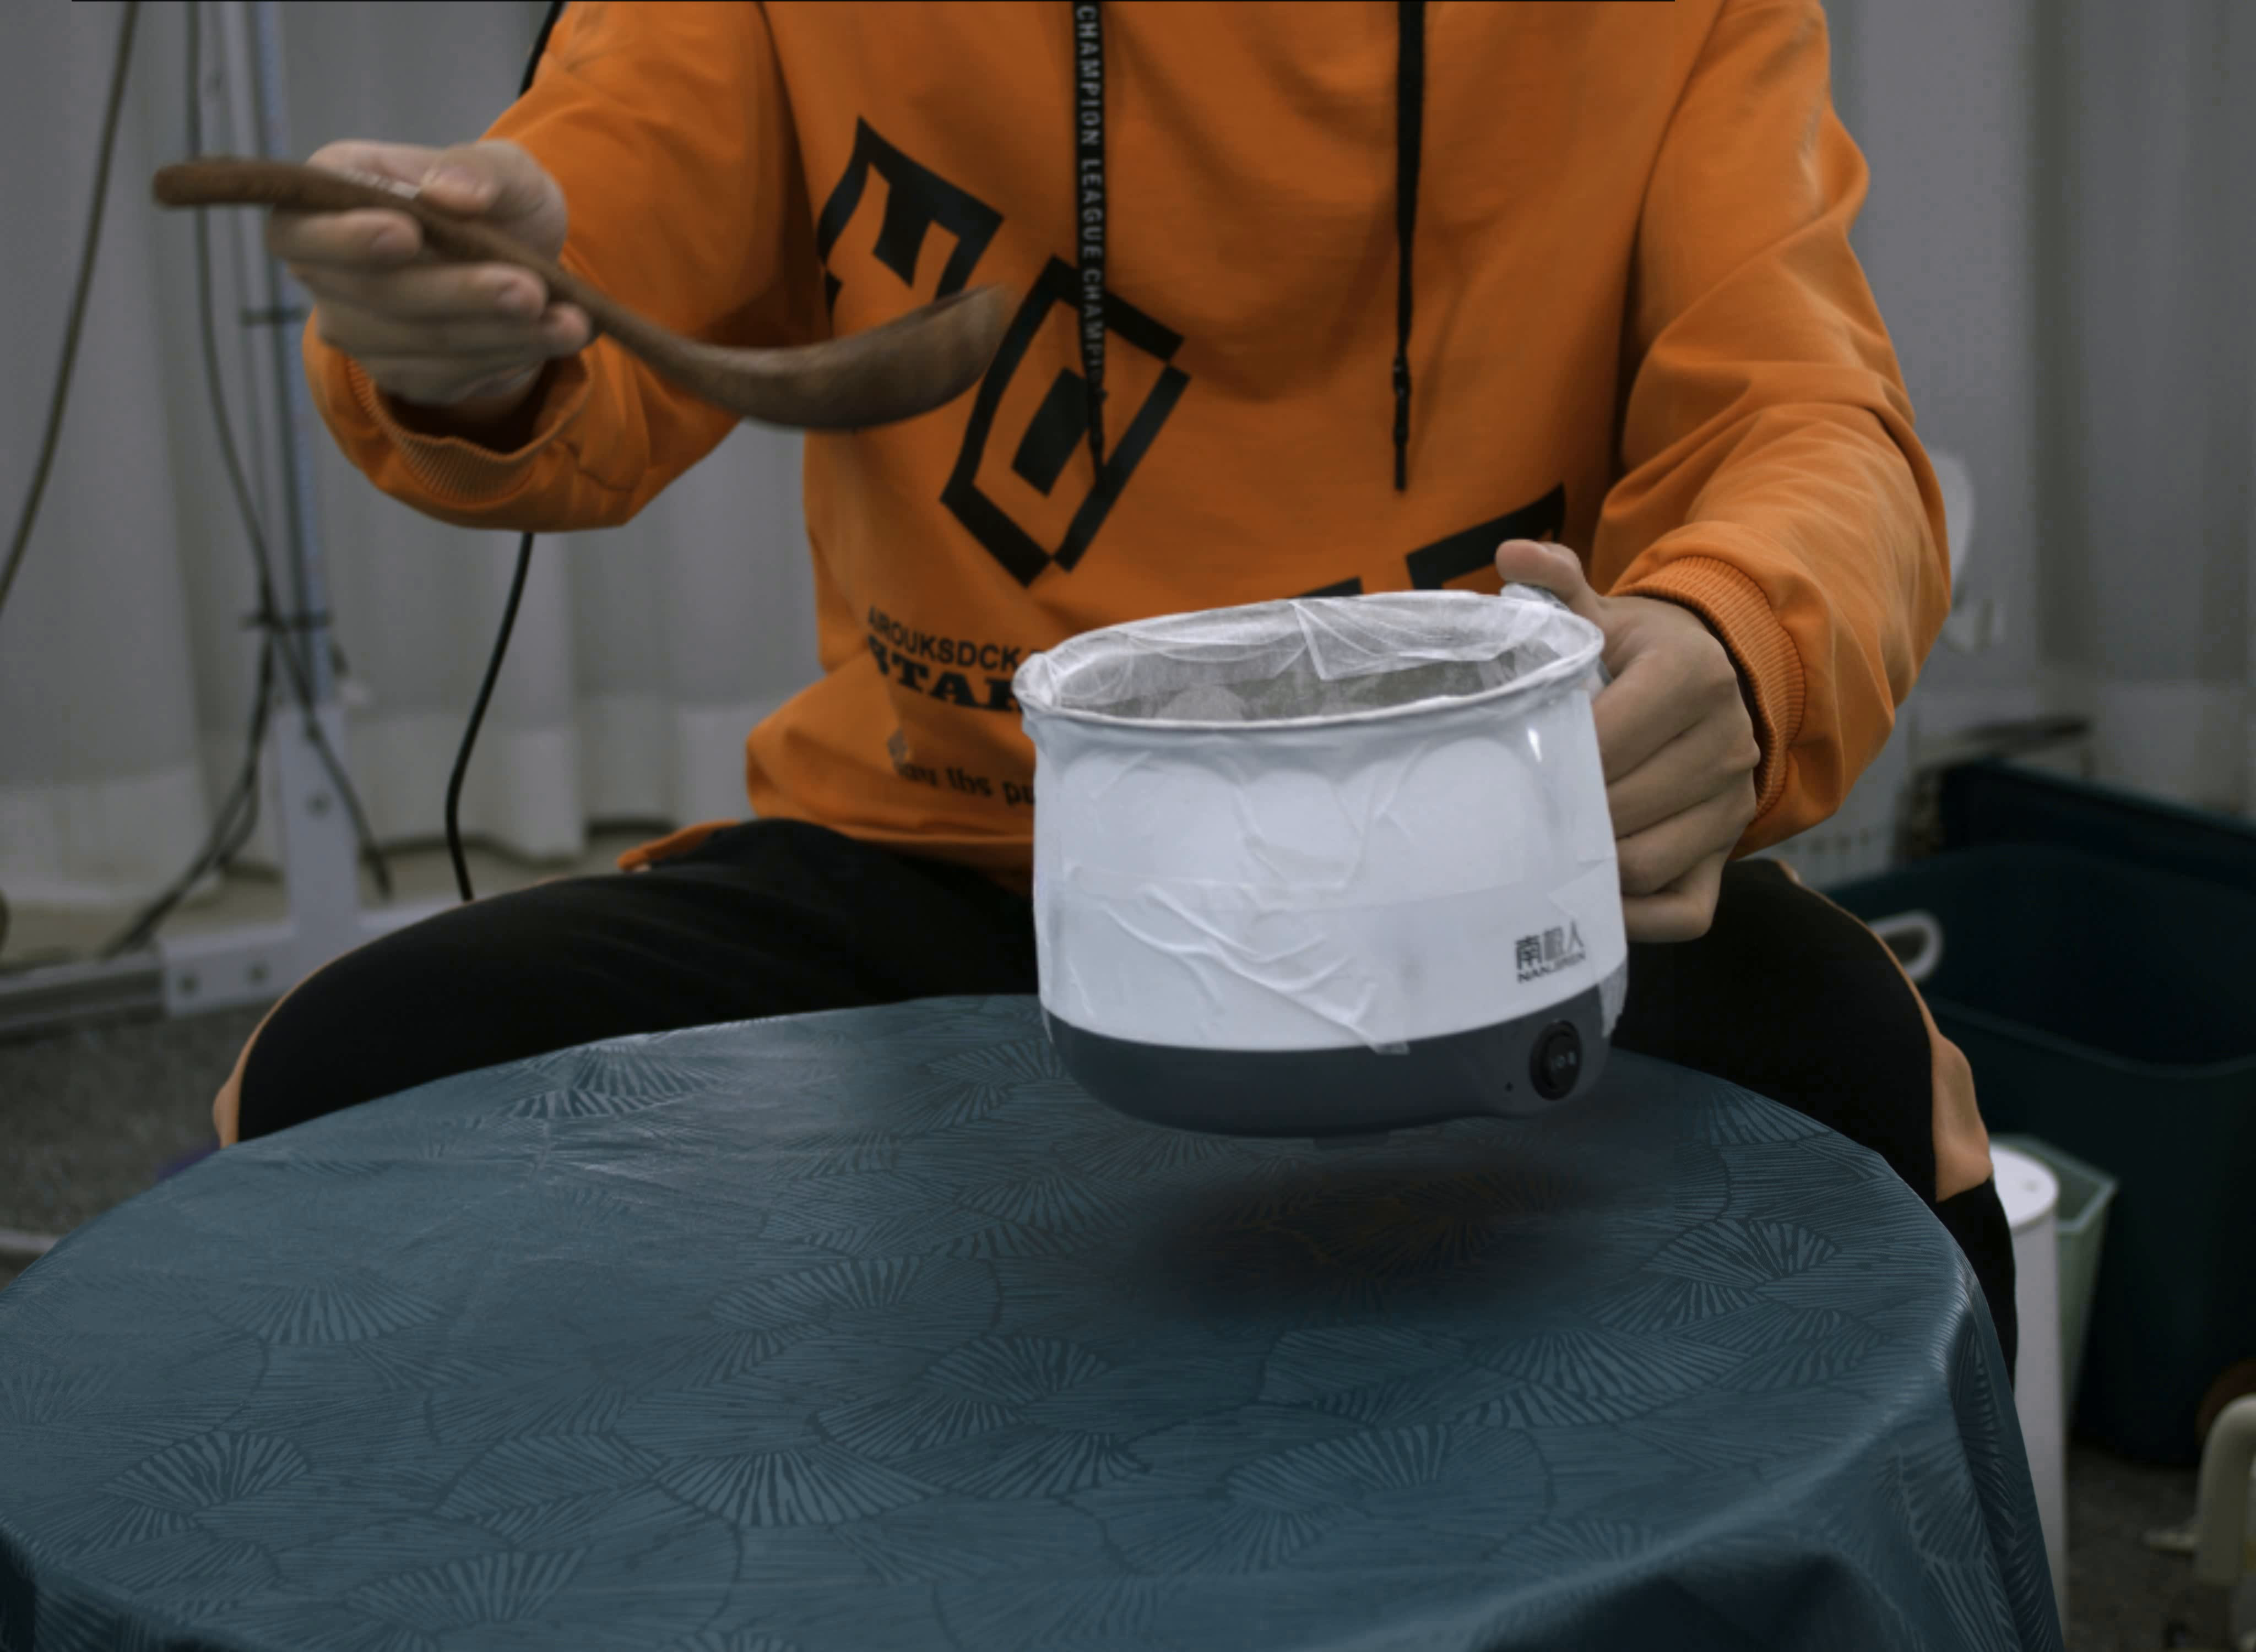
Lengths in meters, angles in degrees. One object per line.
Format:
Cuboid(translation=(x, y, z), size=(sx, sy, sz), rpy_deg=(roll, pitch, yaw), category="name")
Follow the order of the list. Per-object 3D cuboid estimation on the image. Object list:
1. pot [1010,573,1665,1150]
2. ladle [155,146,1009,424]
Cuboid(translation=(0.077, 0.004, 1.655), size=(0.179, 0.136, 0.233), rpy_deg=(8, 18, 42), category="pot")
Cuboid(translation=(-0.162, -0.178, 1.649), size=(0.259, 0.065, 0.076), rpy_deg=(21, 7, 2), category="ladle")
